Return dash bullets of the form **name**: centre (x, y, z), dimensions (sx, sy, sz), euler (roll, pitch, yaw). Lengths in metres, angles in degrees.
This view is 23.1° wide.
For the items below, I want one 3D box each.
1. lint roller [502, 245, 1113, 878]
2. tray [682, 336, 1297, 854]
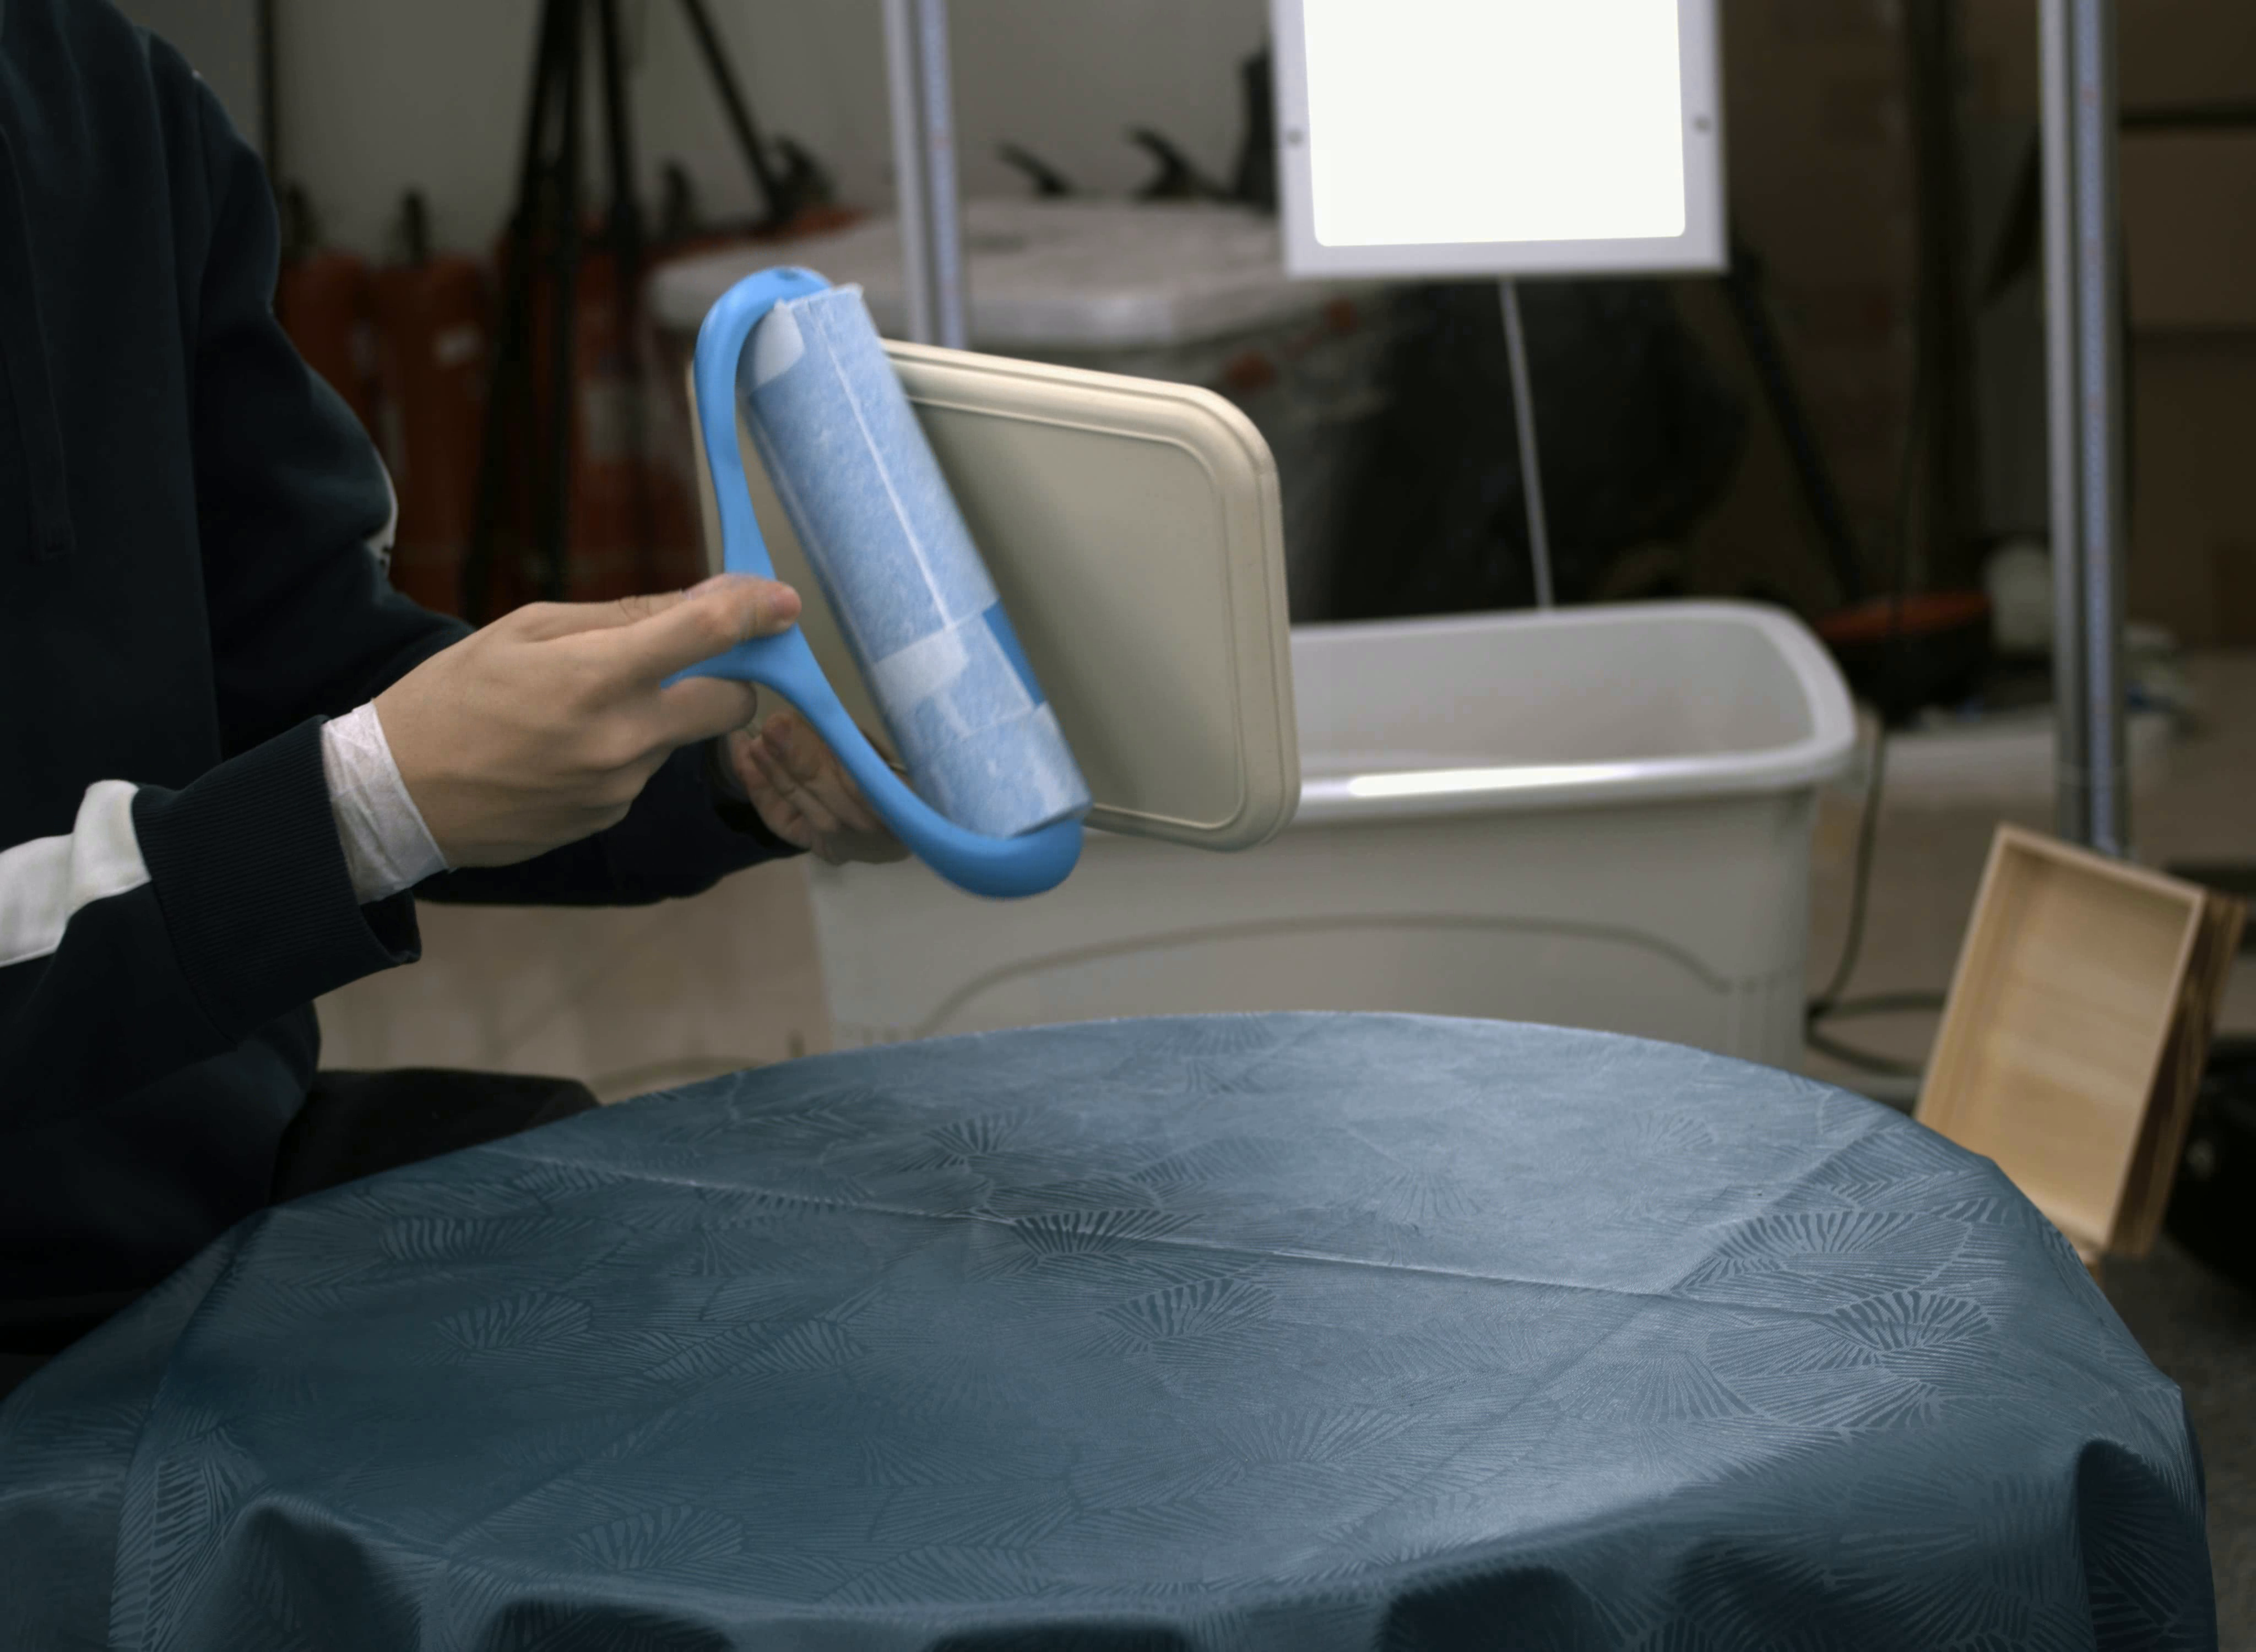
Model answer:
- **lint roller**: centre (-0.122, -0.061, 1.815), dimensions (0.179, 0.229, 0.068), euler (-28, -5, -6)
- **tray**: centre (-0.051, -0.080, 1.874), dimensions (0.244, 0.172, 0.017), euler (11, 30, 33)
